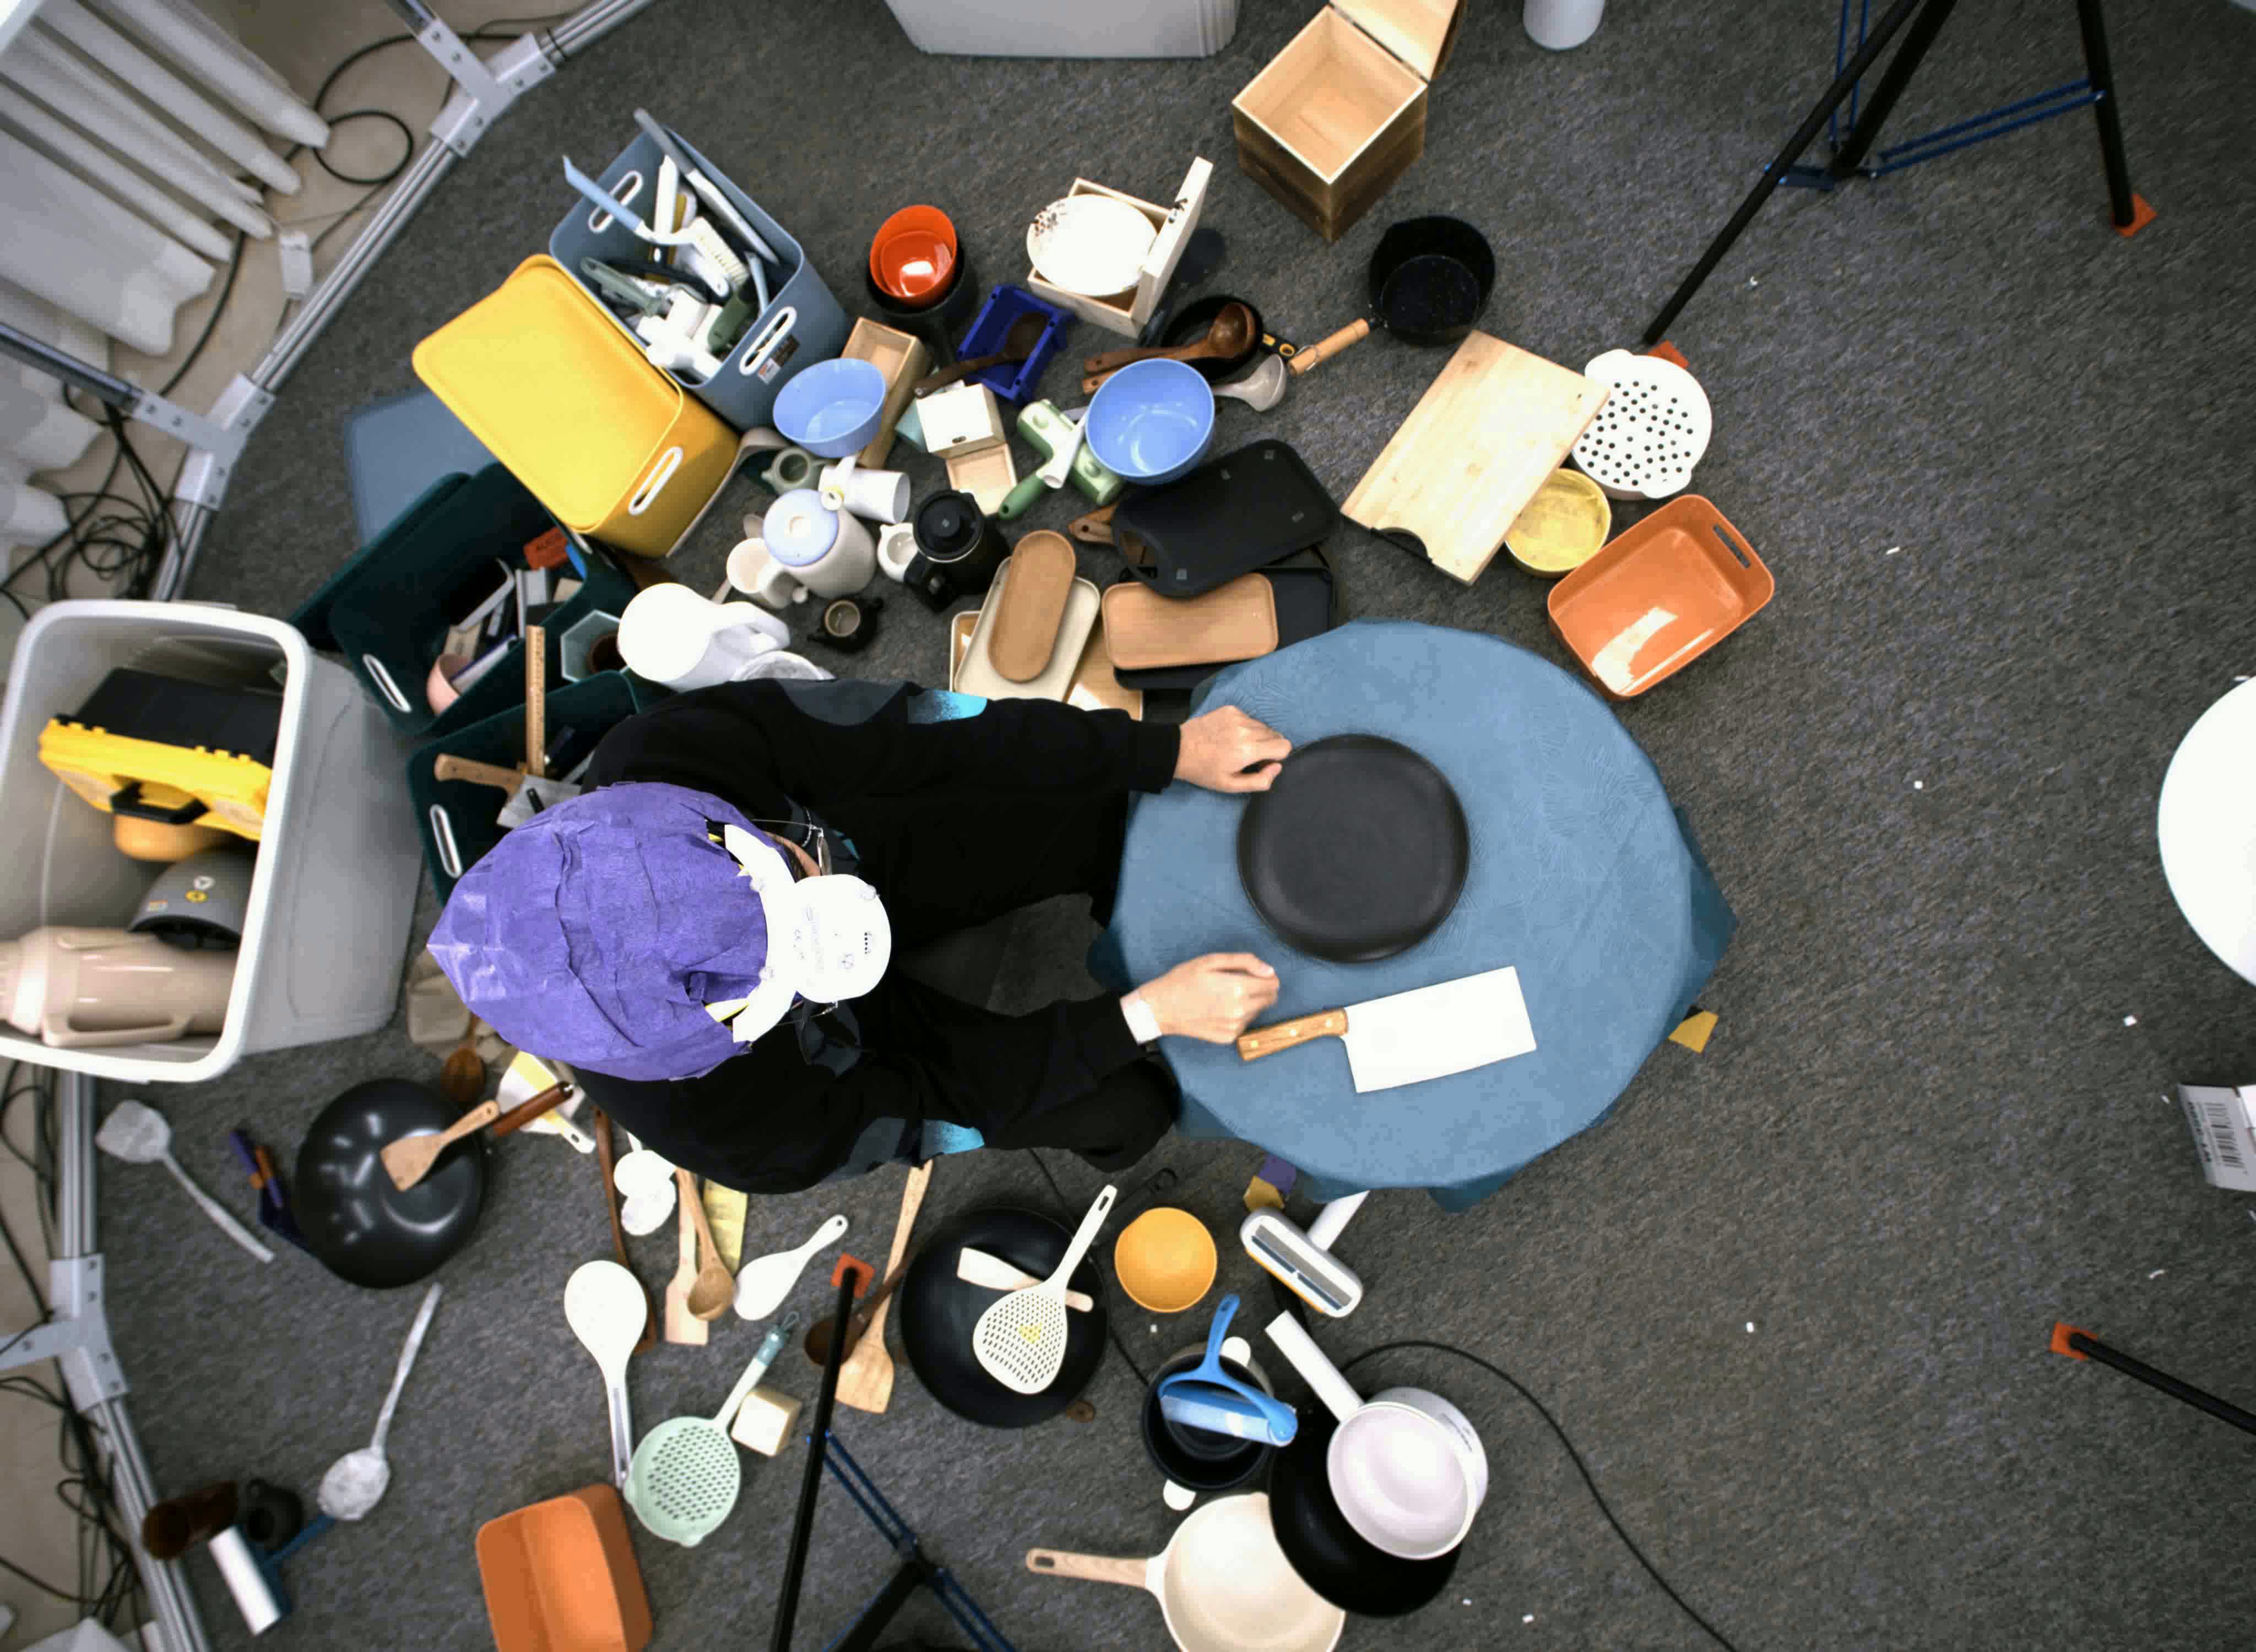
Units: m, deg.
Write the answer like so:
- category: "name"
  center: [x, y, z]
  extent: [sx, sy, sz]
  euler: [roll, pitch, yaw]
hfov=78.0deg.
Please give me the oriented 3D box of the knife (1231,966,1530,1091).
- category: "knife"
  center: [0.264, 0.223, 1.445]
  extent: [0.307, 0.021, 0.092]
  euler: [-15, 86, 7]

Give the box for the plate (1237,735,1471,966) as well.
- category: "plate"
  center: [0.237, 0.024, 1.457]
  extent: [0.245, 0.023, 0.243]
  euler: [-1, 87, 11]
